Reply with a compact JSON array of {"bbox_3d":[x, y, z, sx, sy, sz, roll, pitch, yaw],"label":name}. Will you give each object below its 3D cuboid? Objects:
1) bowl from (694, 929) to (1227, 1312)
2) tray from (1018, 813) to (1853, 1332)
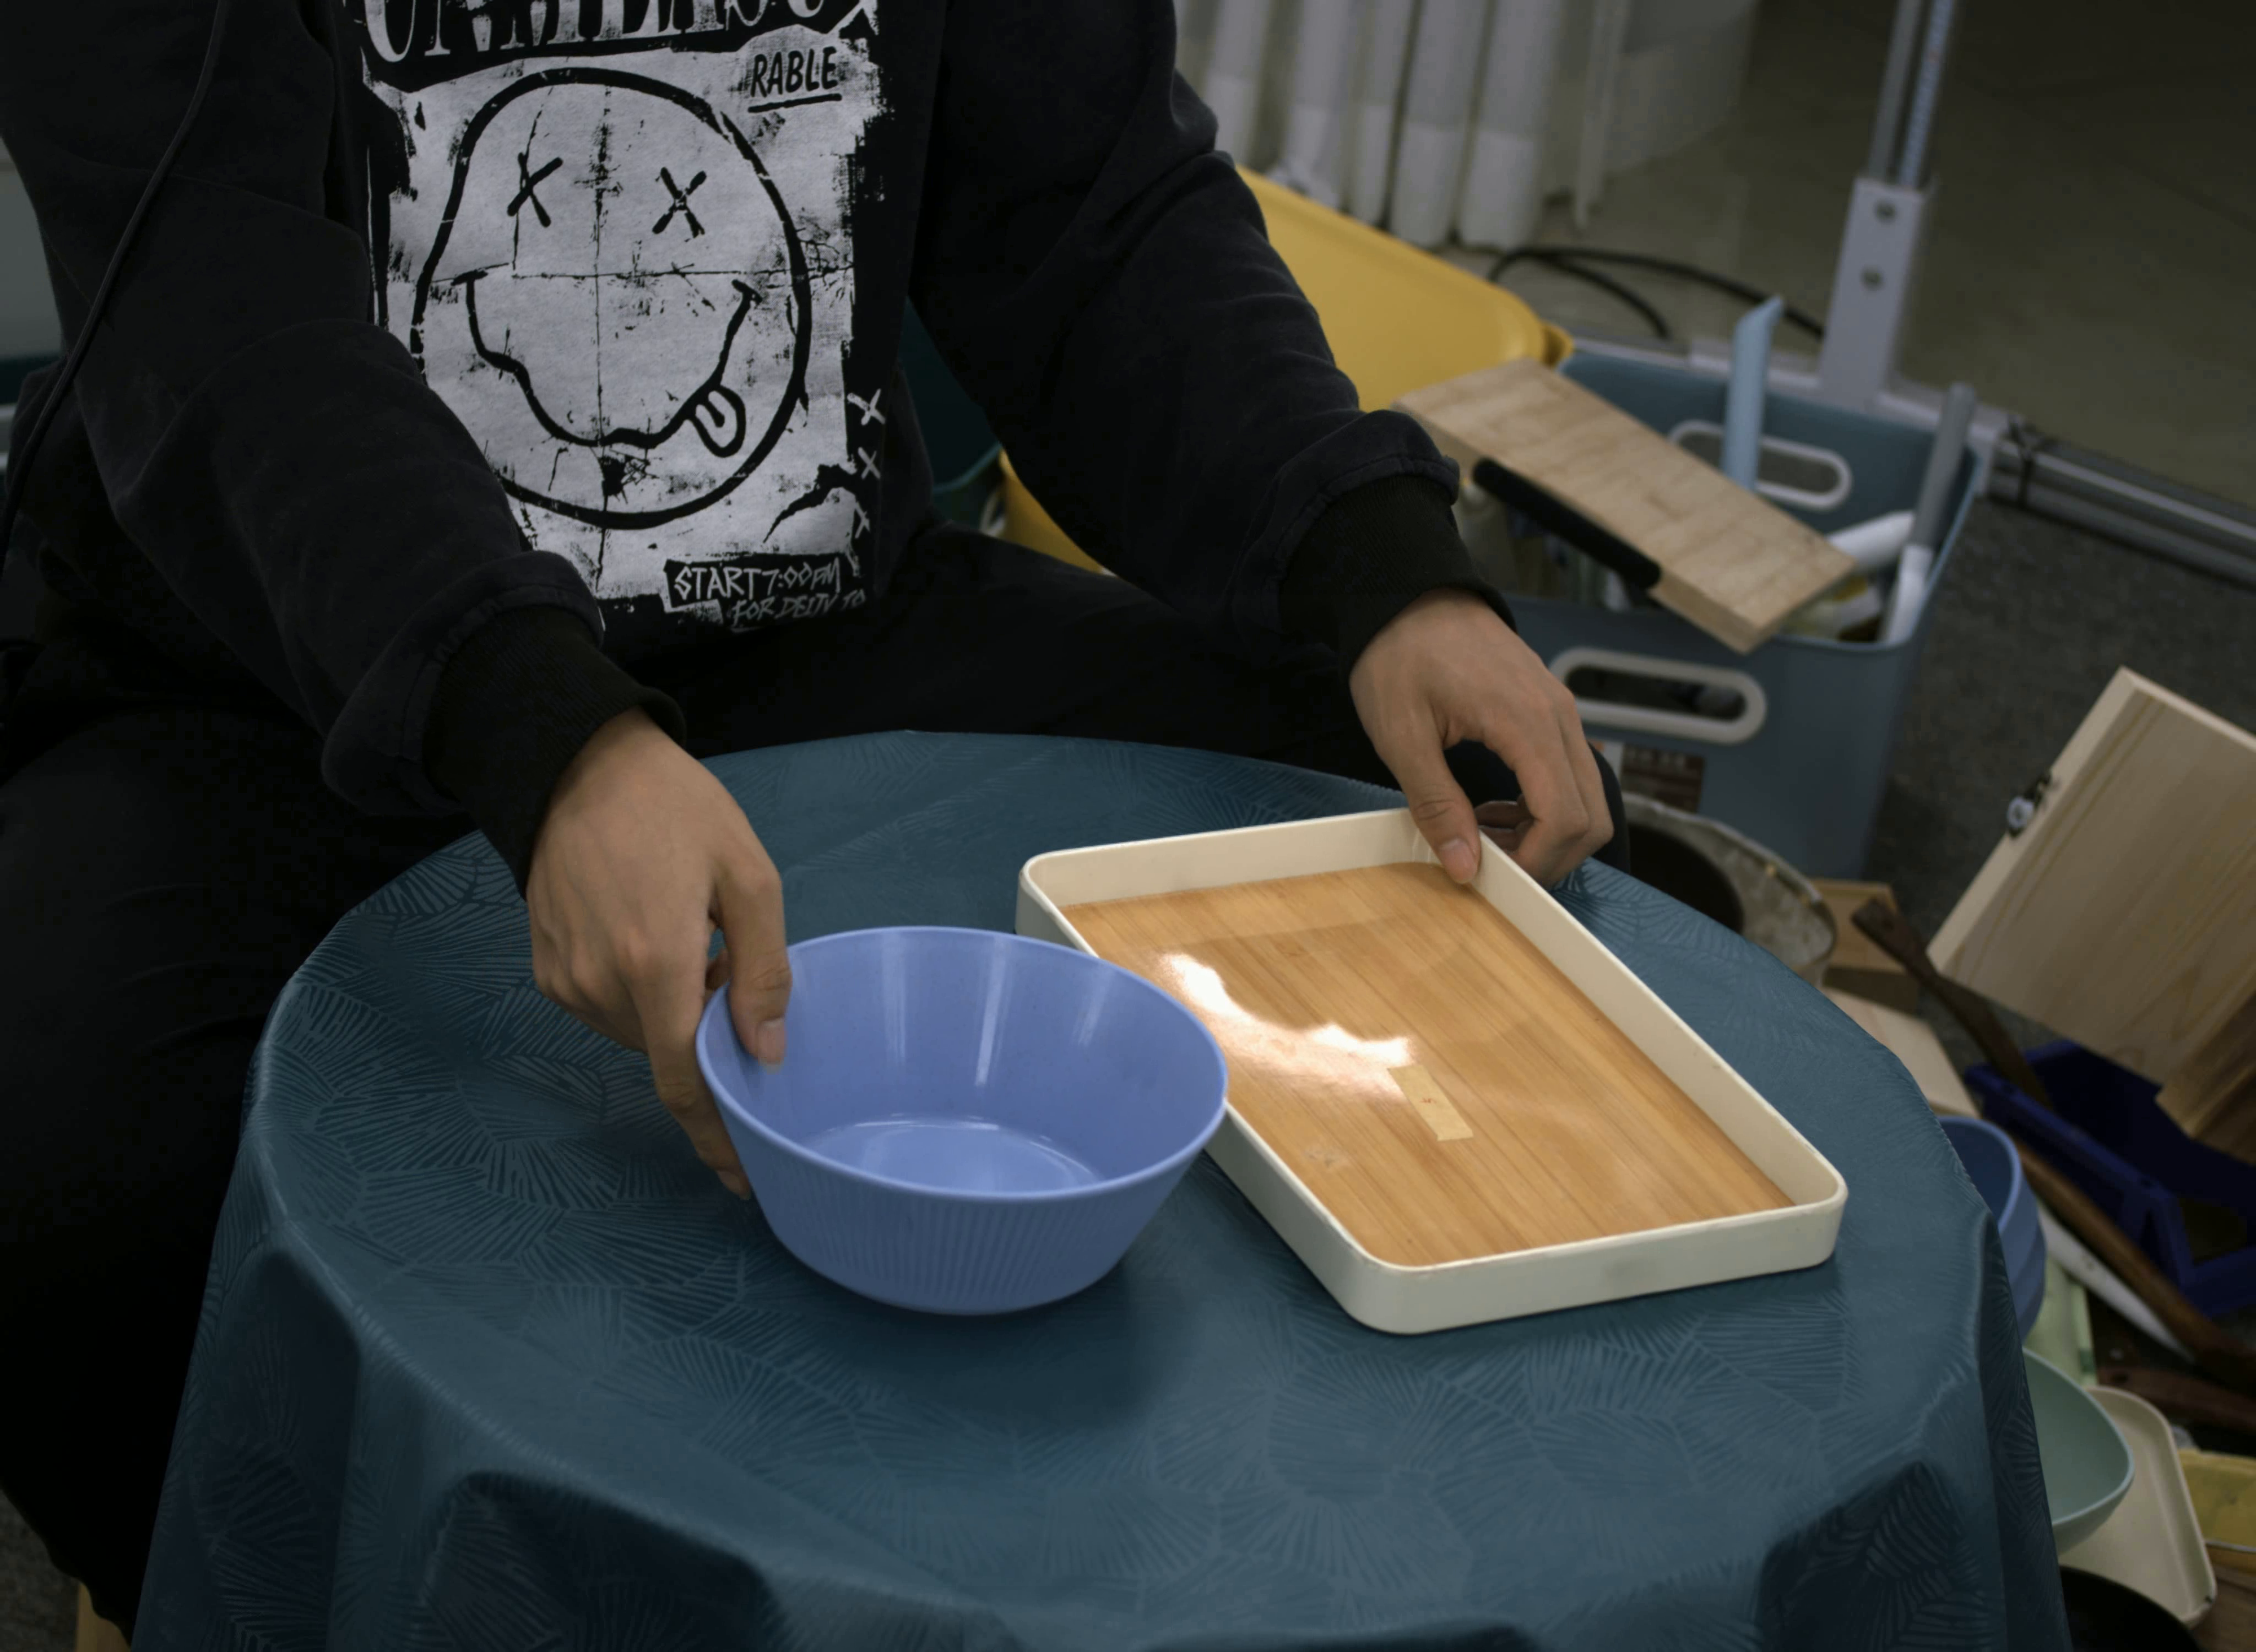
[{"bbox_3d":[-0.058,0.103,1.750,0.175,0.070,0.177,6,26,-3],"label":"bowl"},{"bbox_3d":[0.102,0.081,1.879,0.190,0.027,0.303,-6,29,-25],"label":"tray"}]
